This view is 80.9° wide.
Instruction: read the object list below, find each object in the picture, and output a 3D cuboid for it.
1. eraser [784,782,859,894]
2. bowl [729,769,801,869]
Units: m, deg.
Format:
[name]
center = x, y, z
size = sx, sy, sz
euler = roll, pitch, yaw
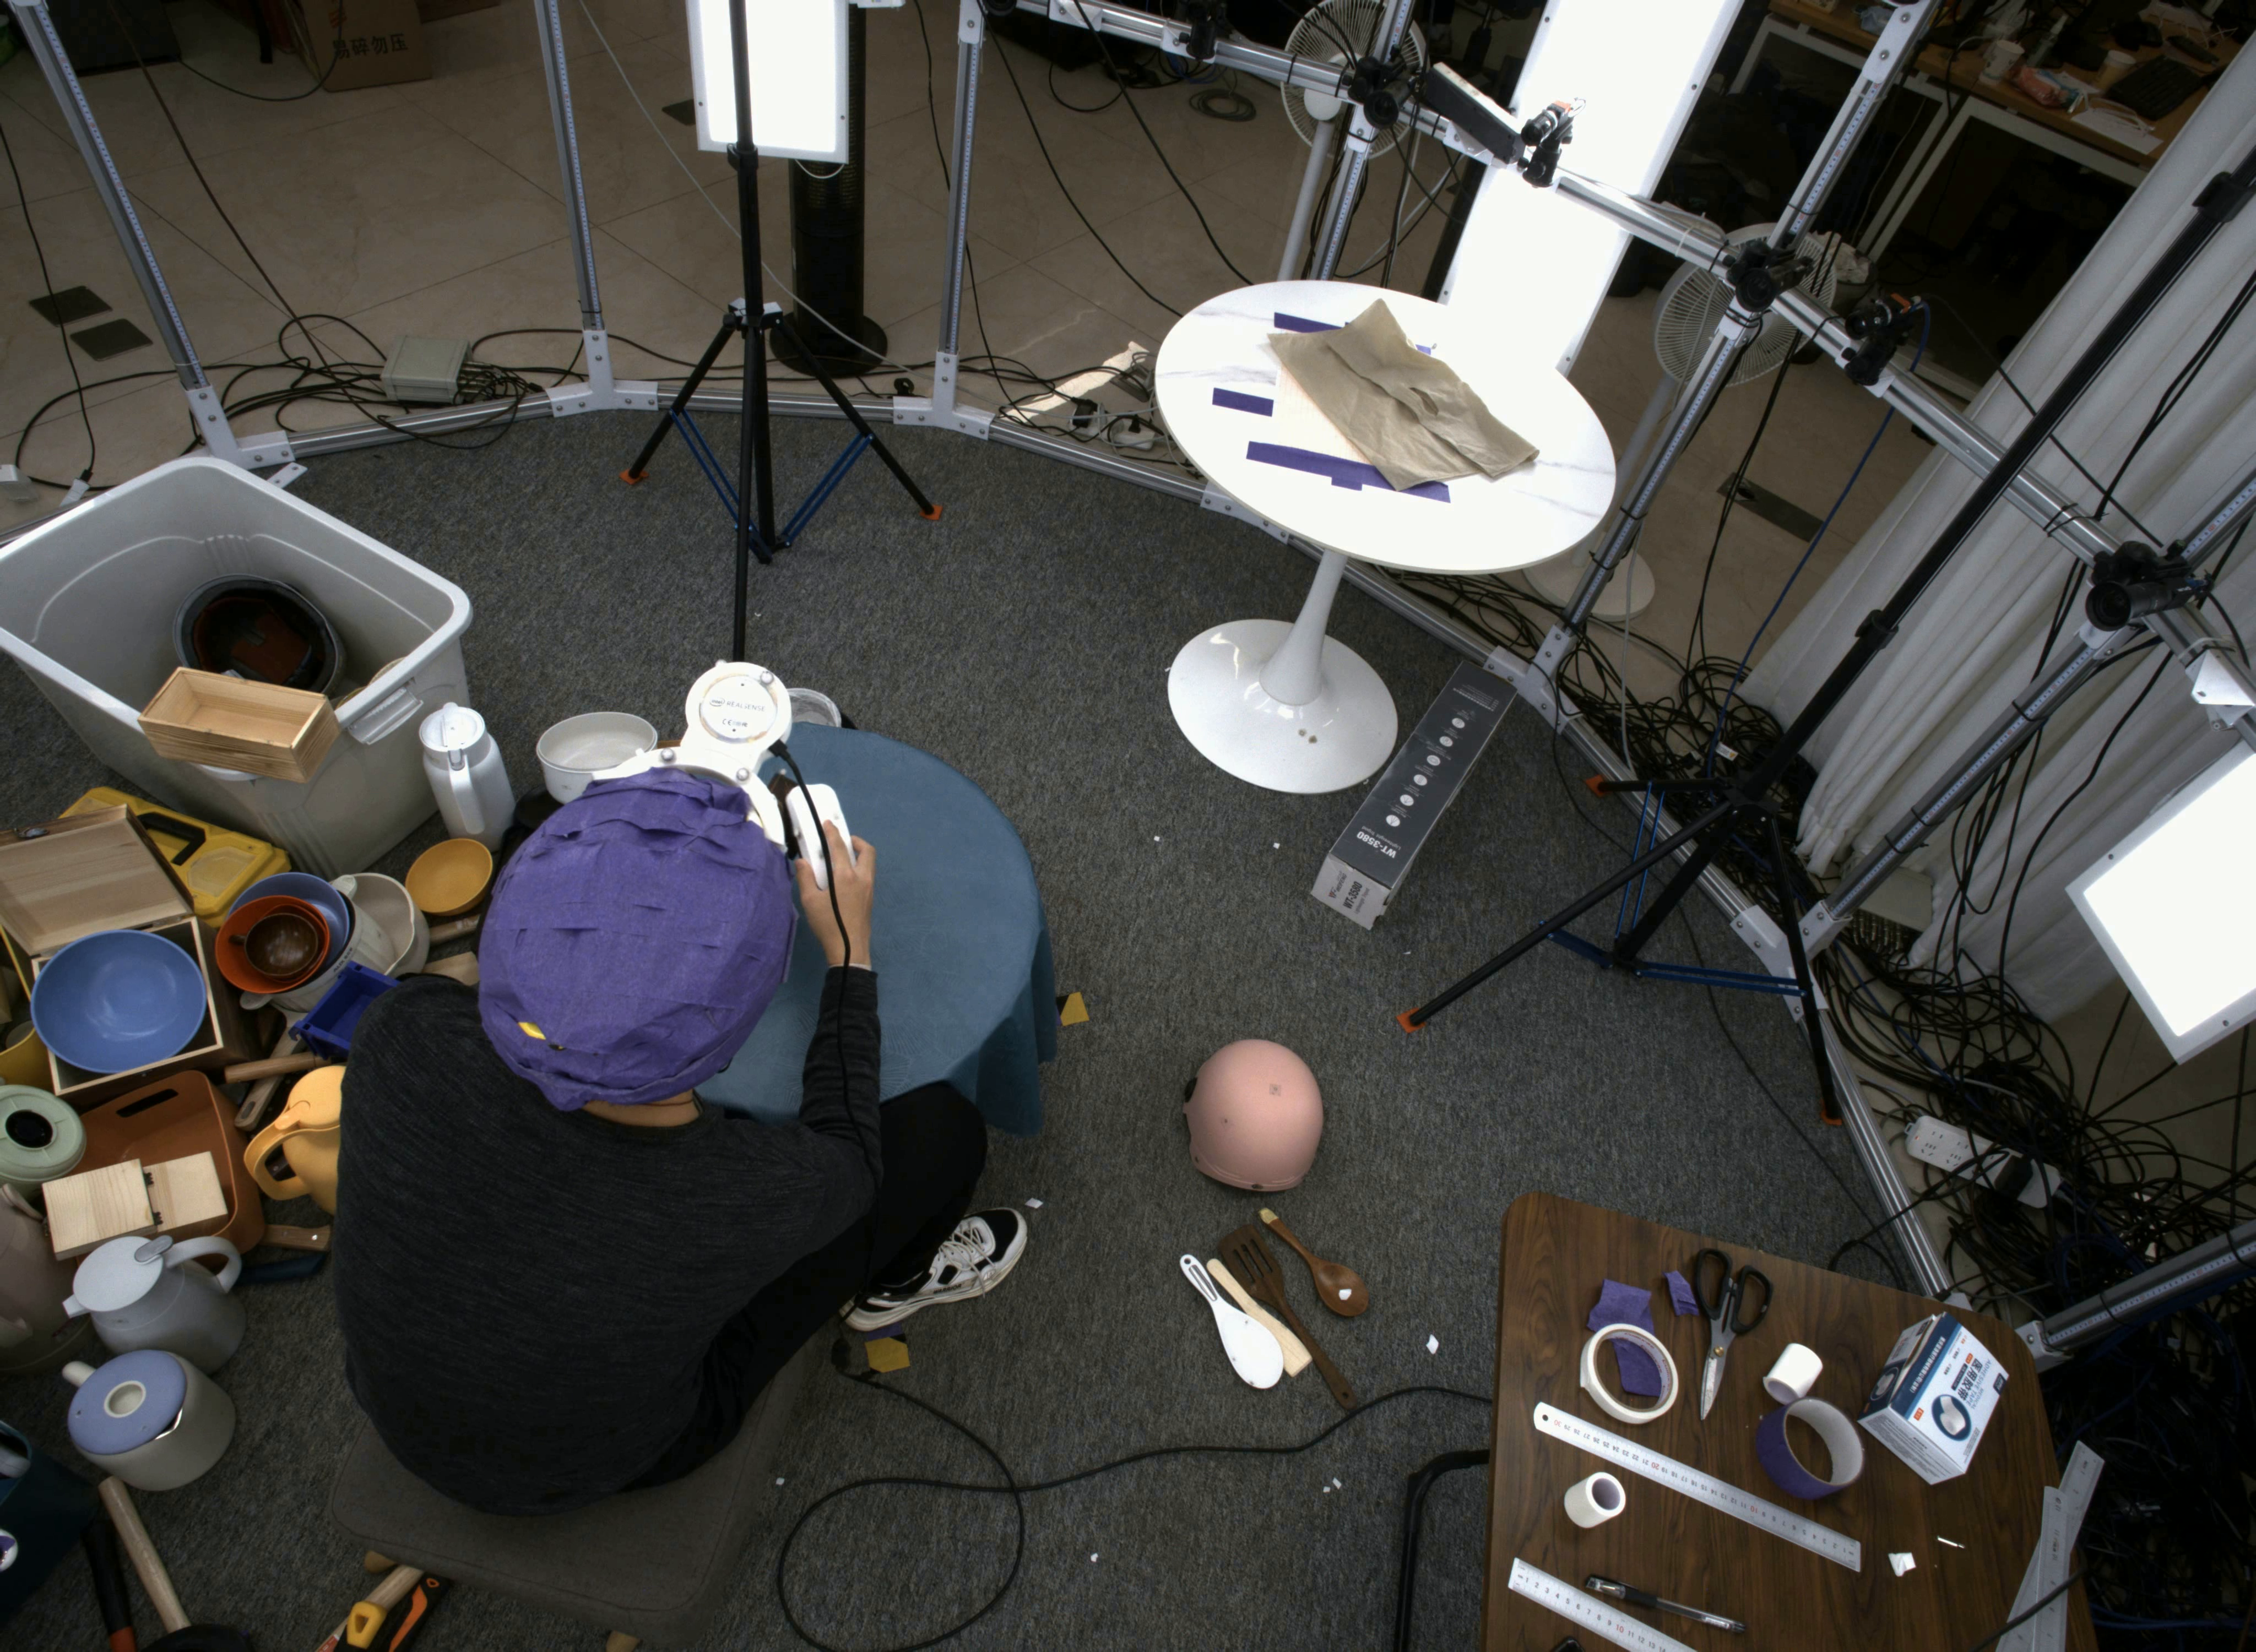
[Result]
[eraser]
center = -0.361, 0.013, 1.525
size = 0.064, 0.034, 0.131
euler = -9, 78, -47
[bowl]
center = -0.426, -0.003, 1.567
size = 0.071, 0.118, 0.116
euler = 27, 49, -16
